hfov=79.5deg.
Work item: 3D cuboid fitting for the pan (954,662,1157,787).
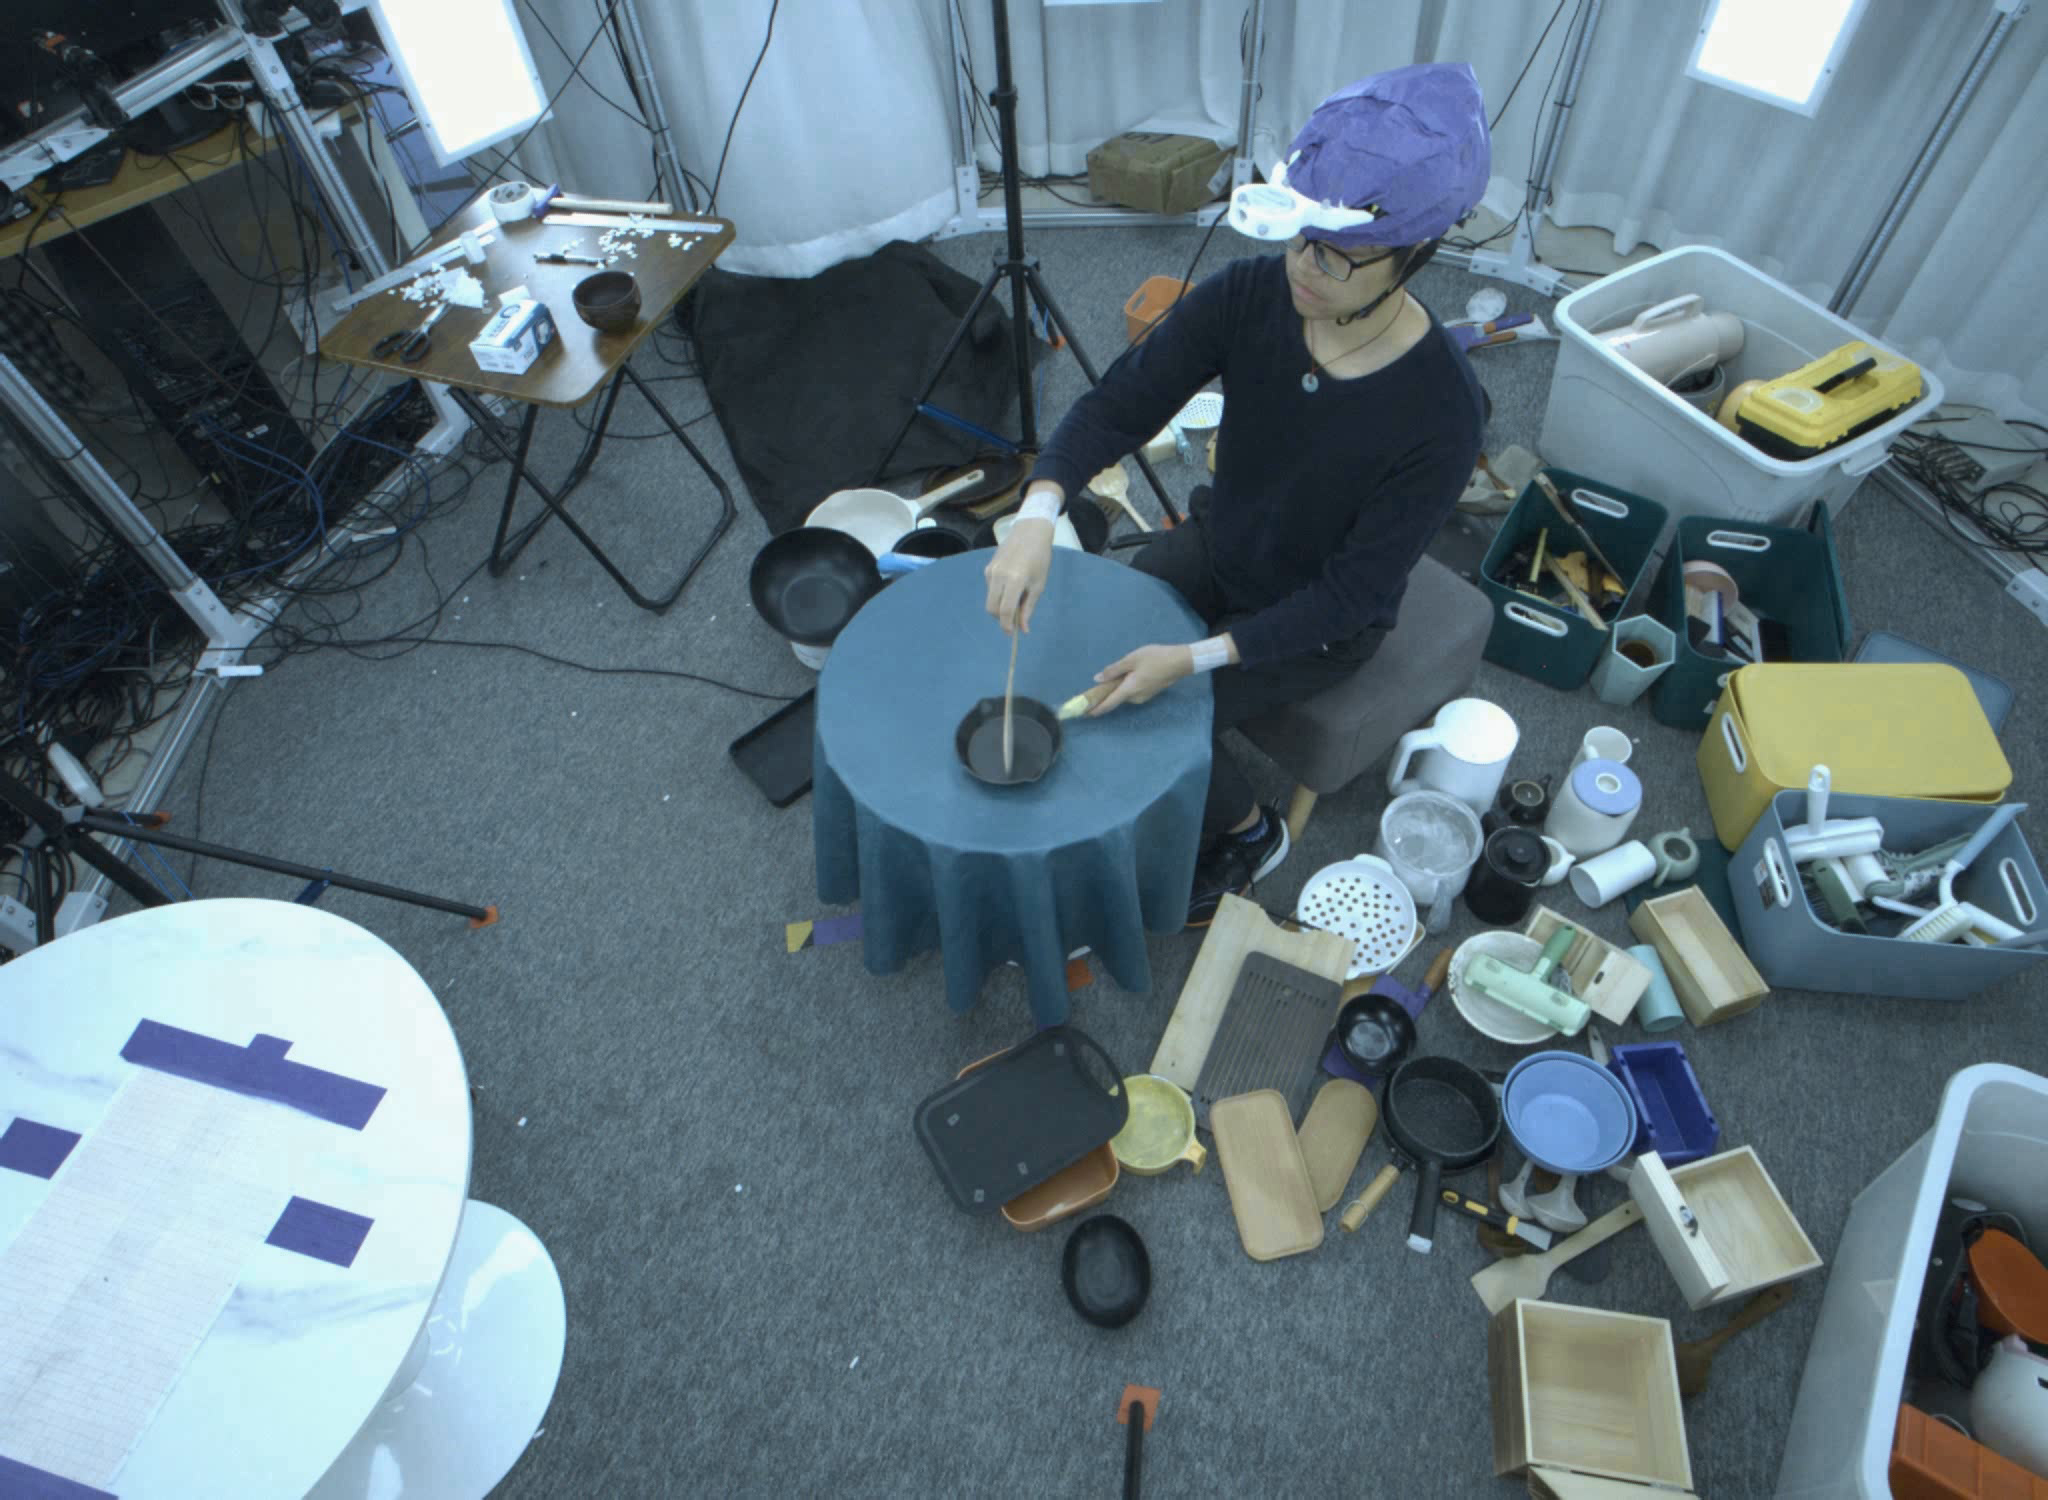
[{"bbox_3d":[0.053,-0.048,1.783,0.326,0.050,0.166,-25,58,-12],"label":"pan"}]

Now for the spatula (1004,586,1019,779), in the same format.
[{"bbox_3d":[-0.015,-0.092,1.654,0.016,0.330,0.079,6,48,1],"label":"spatula"}]
